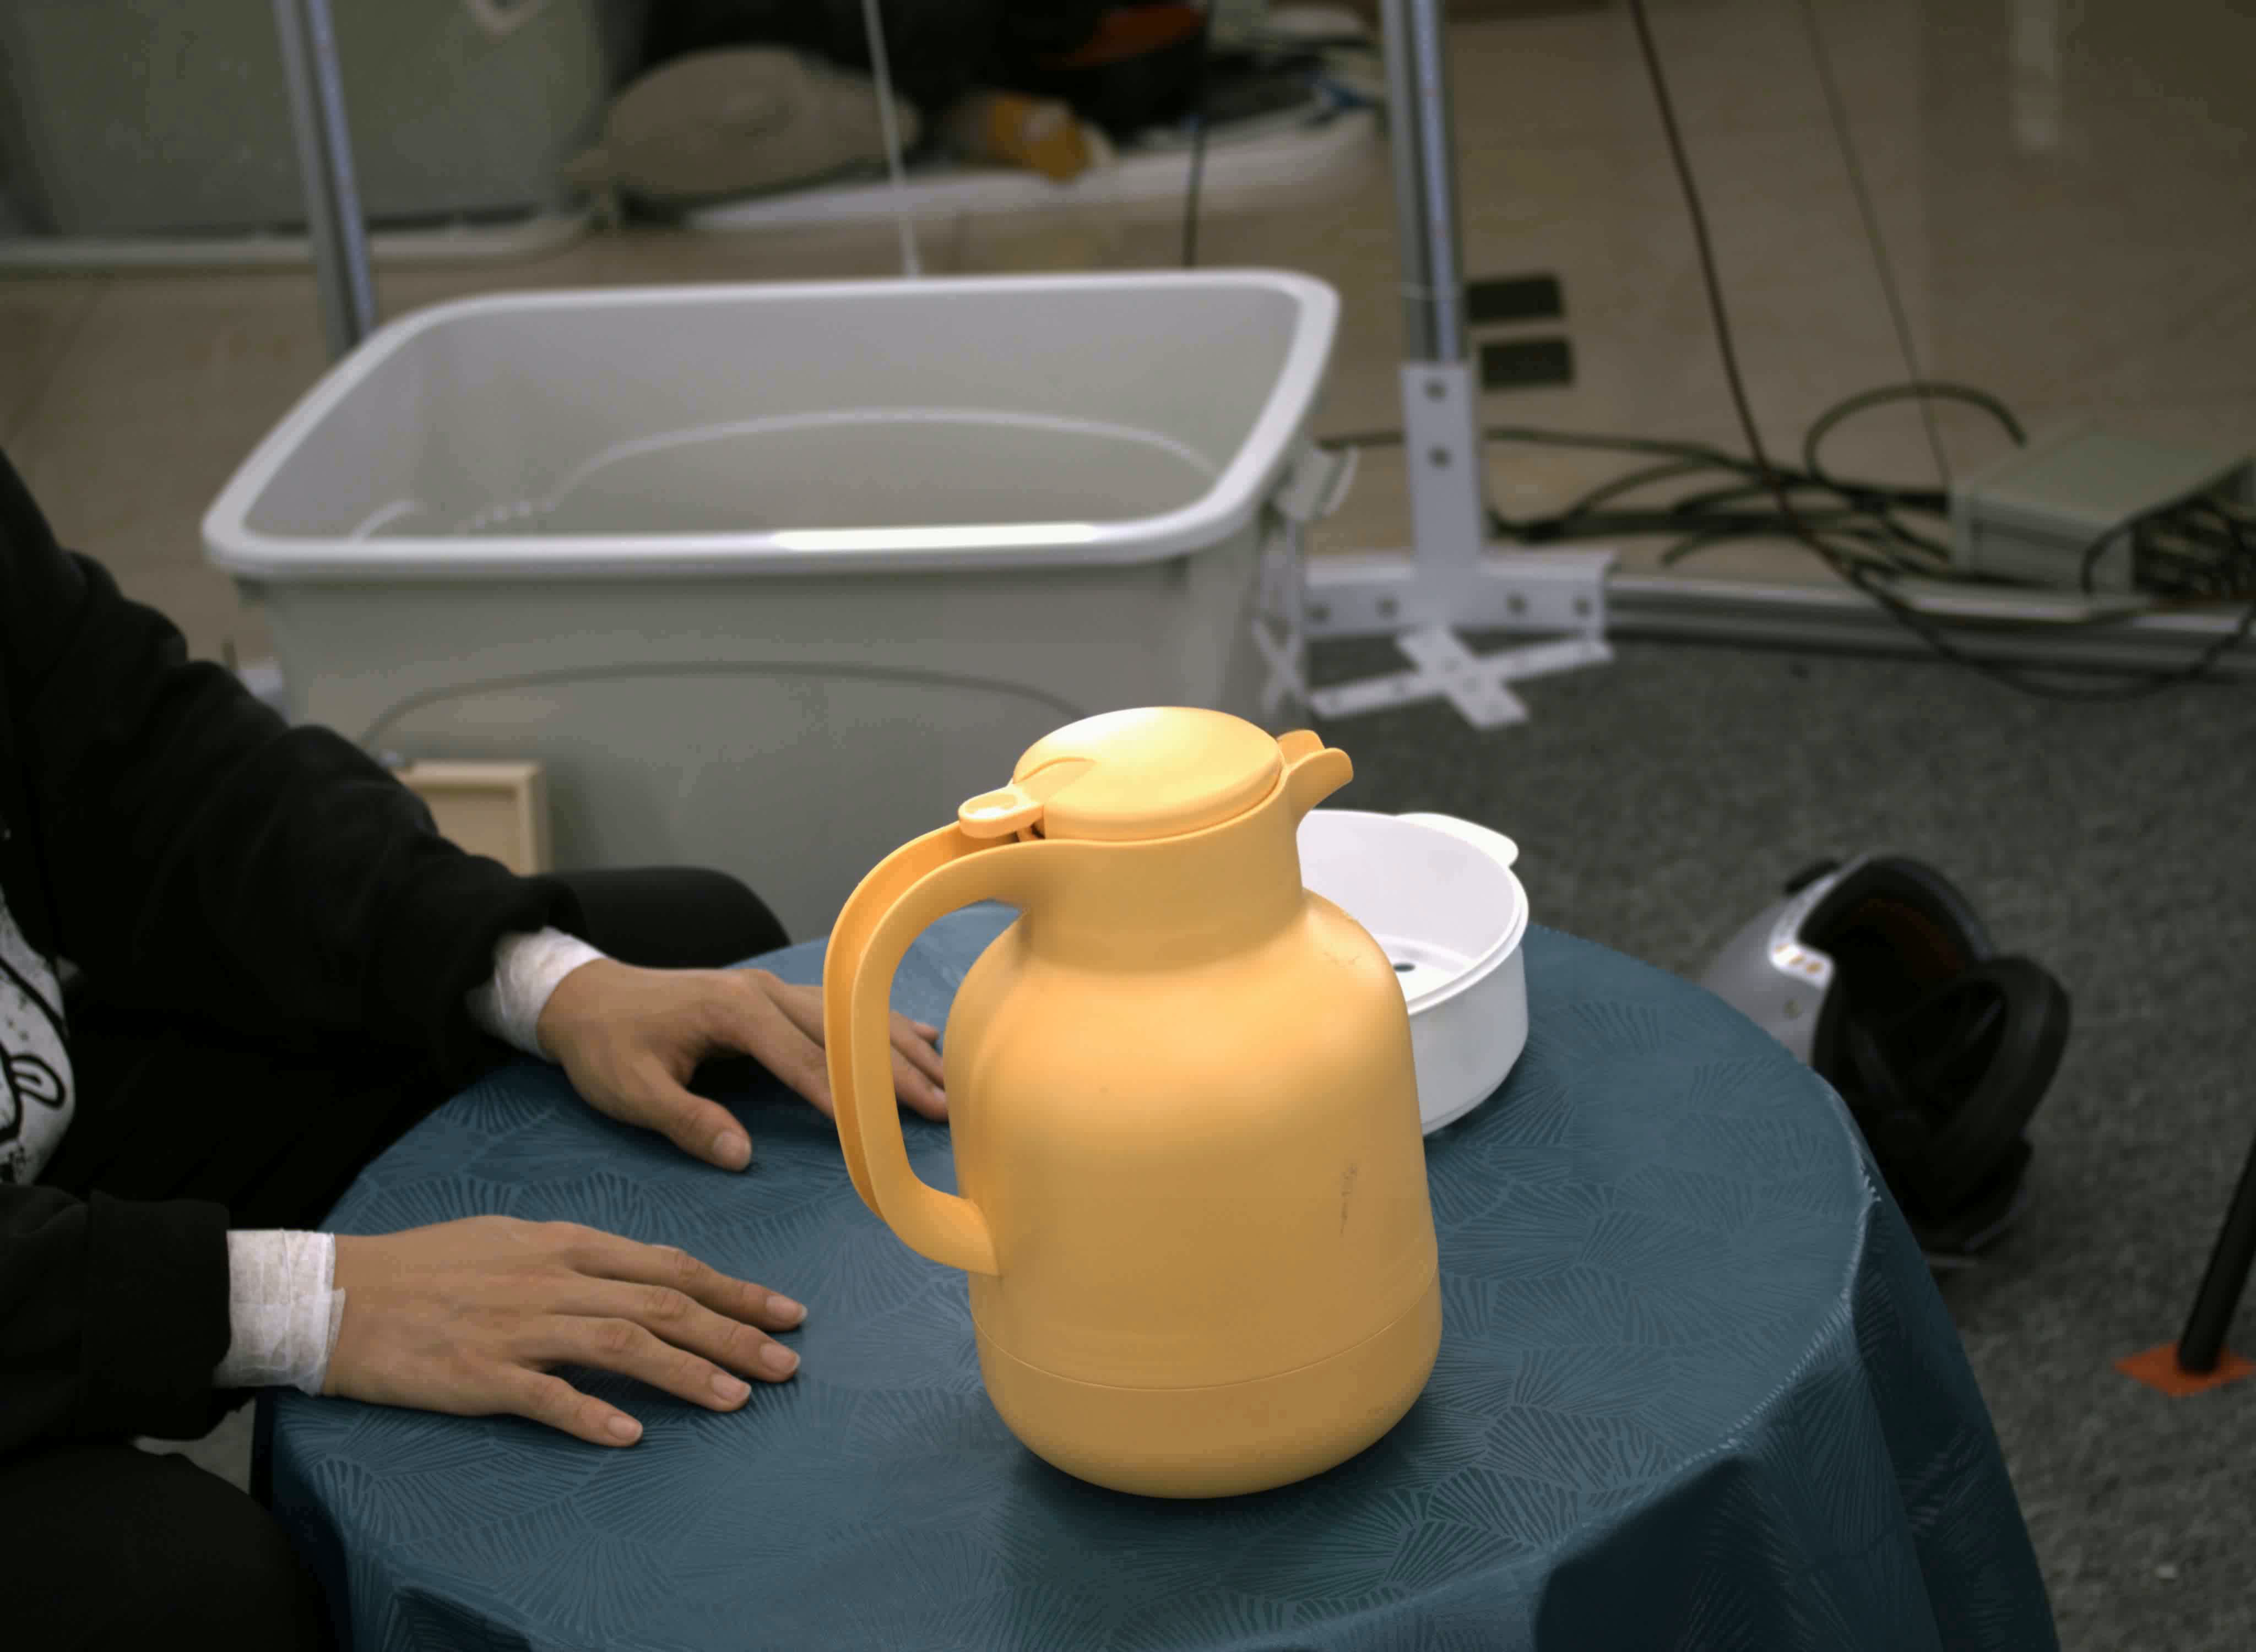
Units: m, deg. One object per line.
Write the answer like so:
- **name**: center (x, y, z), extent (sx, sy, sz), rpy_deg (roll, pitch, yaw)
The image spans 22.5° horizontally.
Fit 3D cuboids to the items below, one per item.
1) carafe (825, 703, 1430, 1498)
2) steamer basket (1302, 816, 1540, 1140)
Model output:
- **carafe**: center (-0.002, 0.093, 1.933), extent (0.201, 0.264, 0.161), rpy_deg (-14, 24, -19)
- **steamer basket**: center (0.062, 0.063, 2.215), extent (0.229, 0.070, 0.200), rpy_deg (-23, 28, -36)
